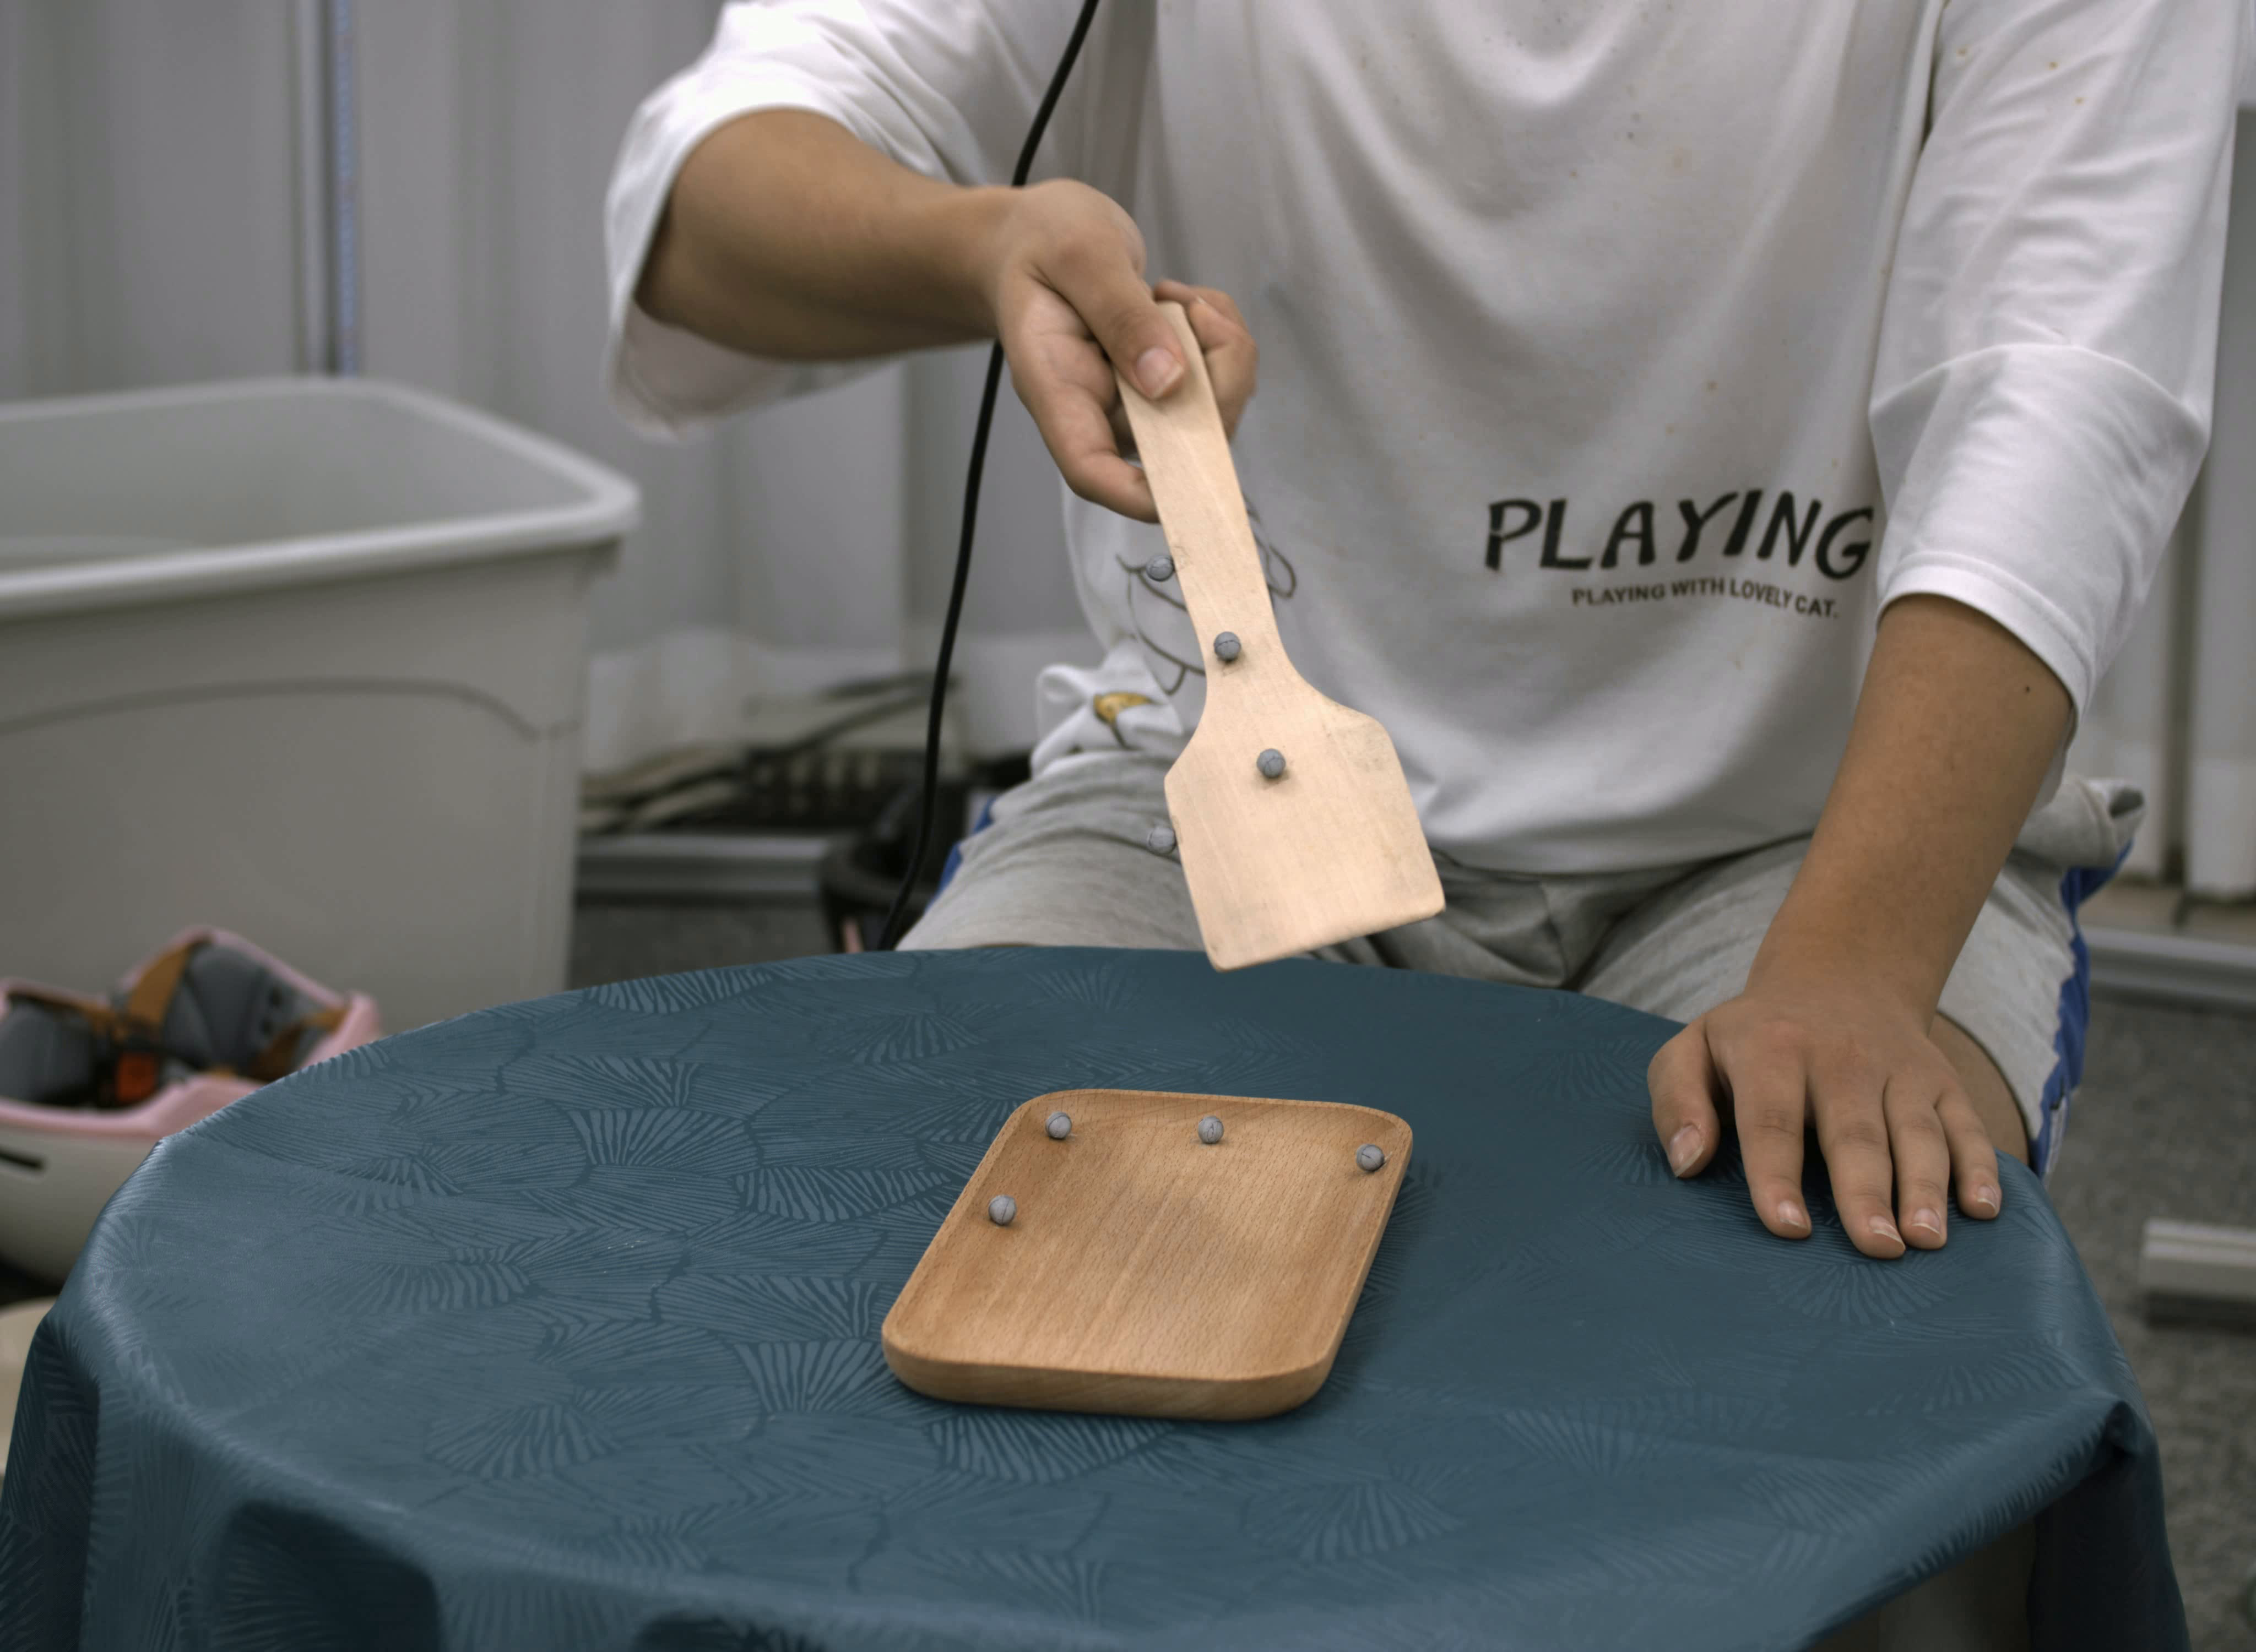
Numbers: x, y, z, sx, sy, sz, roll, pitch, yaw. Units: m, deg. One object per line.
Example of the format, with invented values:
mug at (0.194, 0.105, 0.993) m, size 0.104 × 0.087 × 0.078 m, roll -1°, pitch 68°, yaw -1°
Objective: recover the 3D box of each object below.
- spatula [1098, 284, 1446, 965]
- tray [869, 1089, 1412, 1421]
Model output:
spatula at (0.030, -0.069, 1.610) m, size 0.072 × 0.011 × 0.290 m, roll -14°, pitch 48°, yaw -2°
tray at (0.008, 0.124, 1.558) m, size 0.129 × 0.023 × 0.250 m, roll 1°, pitch 15°, yaw 11°
